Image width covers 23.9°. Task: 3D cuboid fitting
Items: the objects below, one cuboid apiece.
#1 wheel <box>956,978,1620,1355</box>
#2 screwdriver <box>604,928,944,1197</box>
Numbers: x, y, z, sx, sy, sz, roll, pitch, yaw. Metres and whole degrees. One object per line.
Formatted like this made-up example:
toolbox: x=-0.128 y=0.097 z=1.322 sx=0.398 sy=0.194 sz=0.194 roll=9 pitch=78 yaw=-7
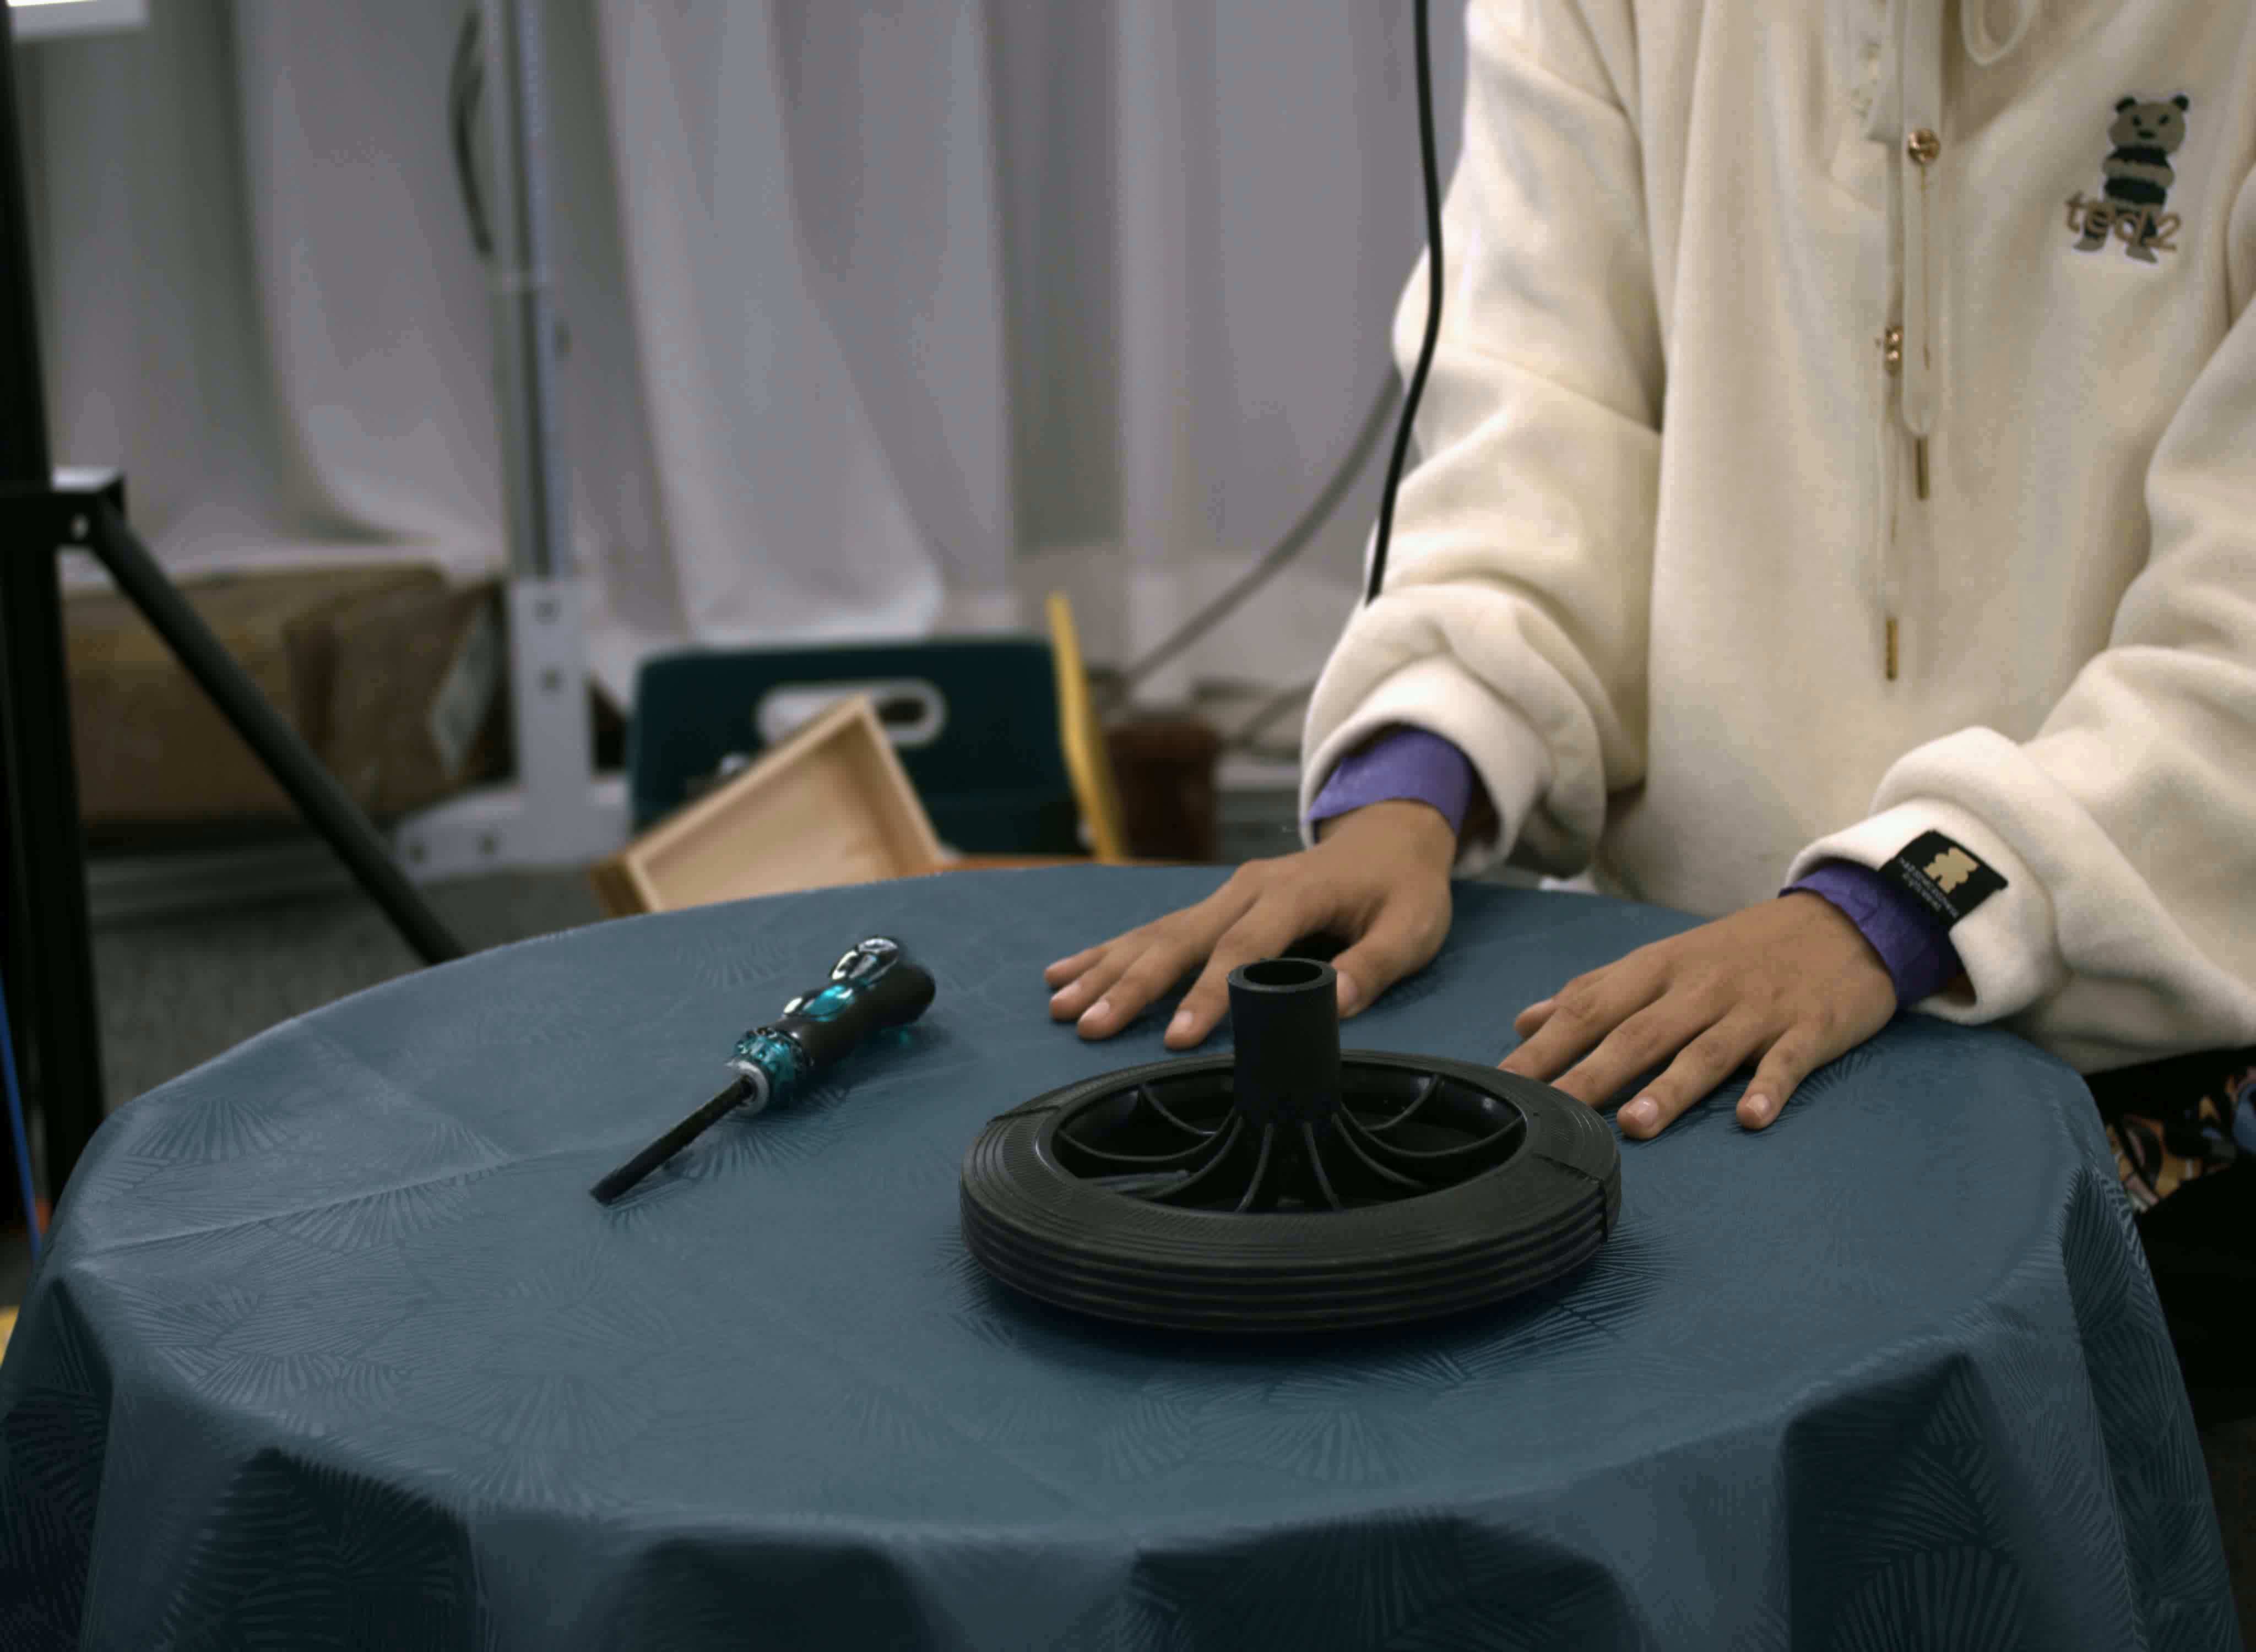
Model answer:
wheel: x=0.044 y=0.085 z=1.494 sx=0.186 sy=0.079 sz=0.191 roll=-14 pitch=19 yaw=-28
screwdriver: x=-0.111 y=0.076 z=1.650 sx=0.034 sy=0.033 sz=0.187 roll=6 pitch=23 yaw=27
